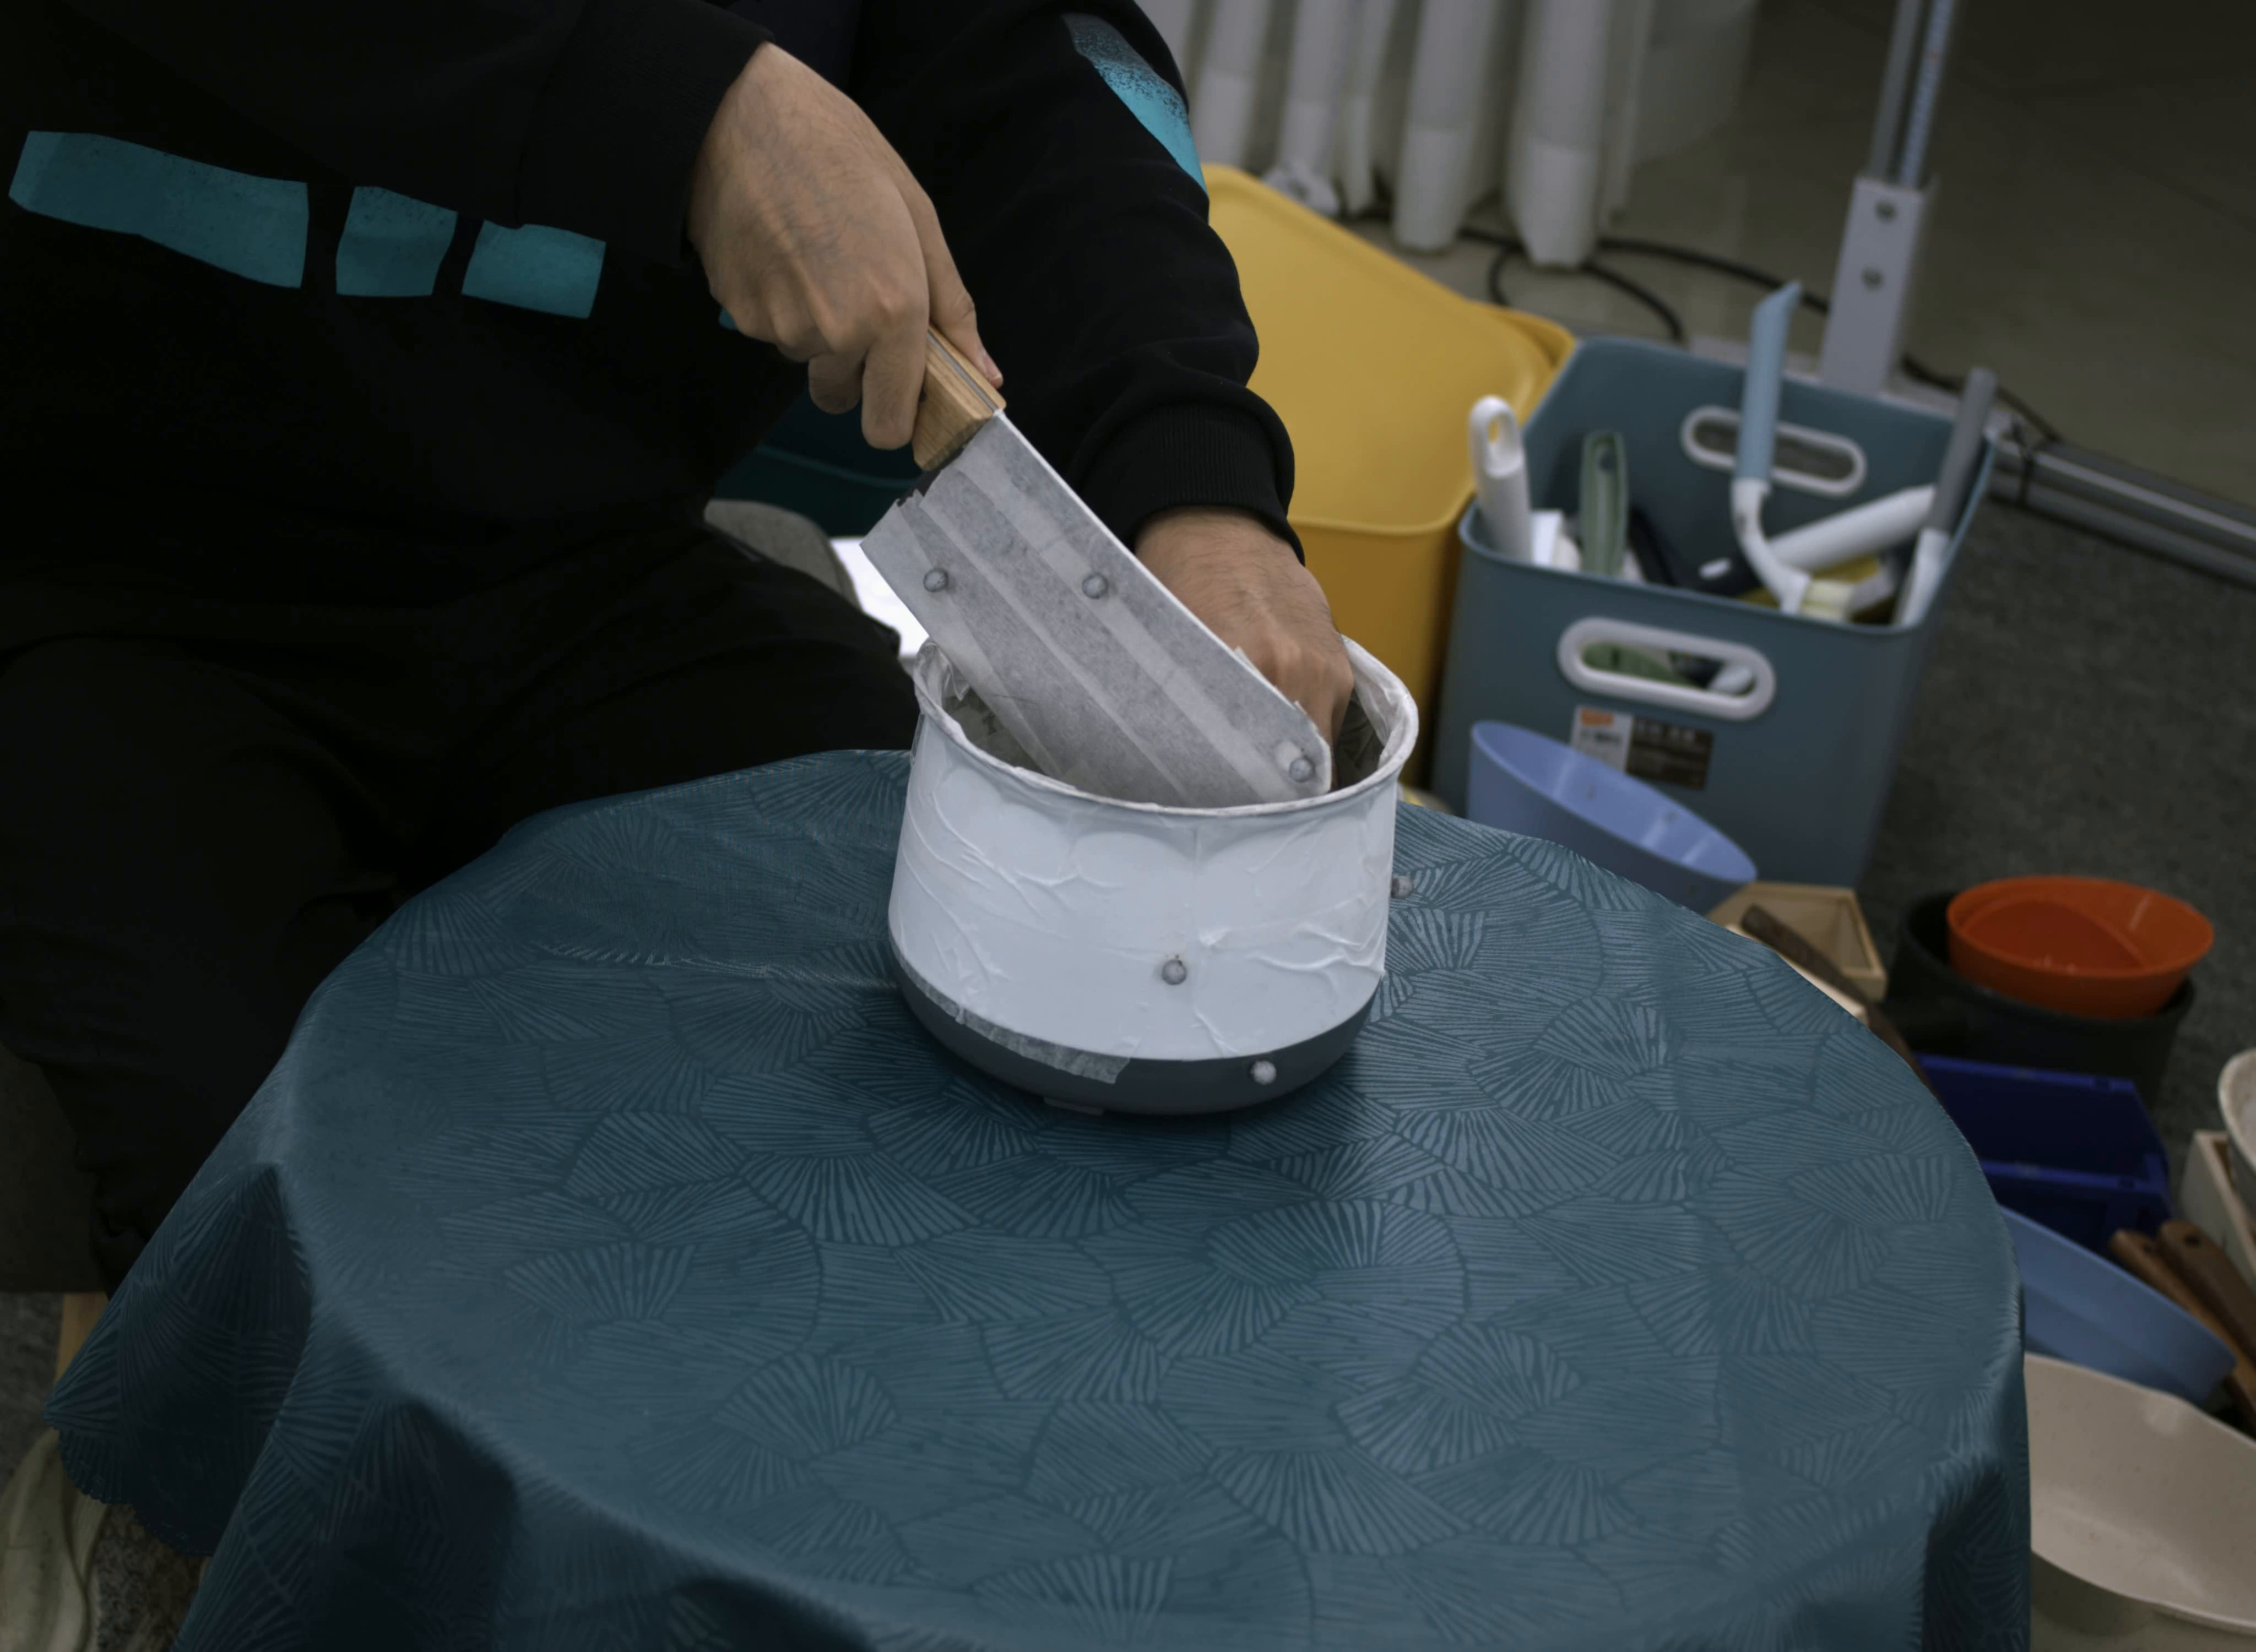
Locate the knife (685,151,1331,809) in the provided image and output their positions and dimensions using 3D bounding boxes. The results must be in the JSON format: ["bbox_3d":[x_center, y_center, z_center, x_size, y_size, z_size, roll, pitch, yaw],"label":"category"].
[{"bbox_3d":[-0.046,-0.105,1.833,0.316,0.114,0.021,51,39,5],"label":"knife"}]

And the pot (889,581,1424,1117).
[{"bbox_3d":[-0.007,-0.003,1.897,0.177,0.136,0.236,-9,32,-30],"label":"pot"}]
